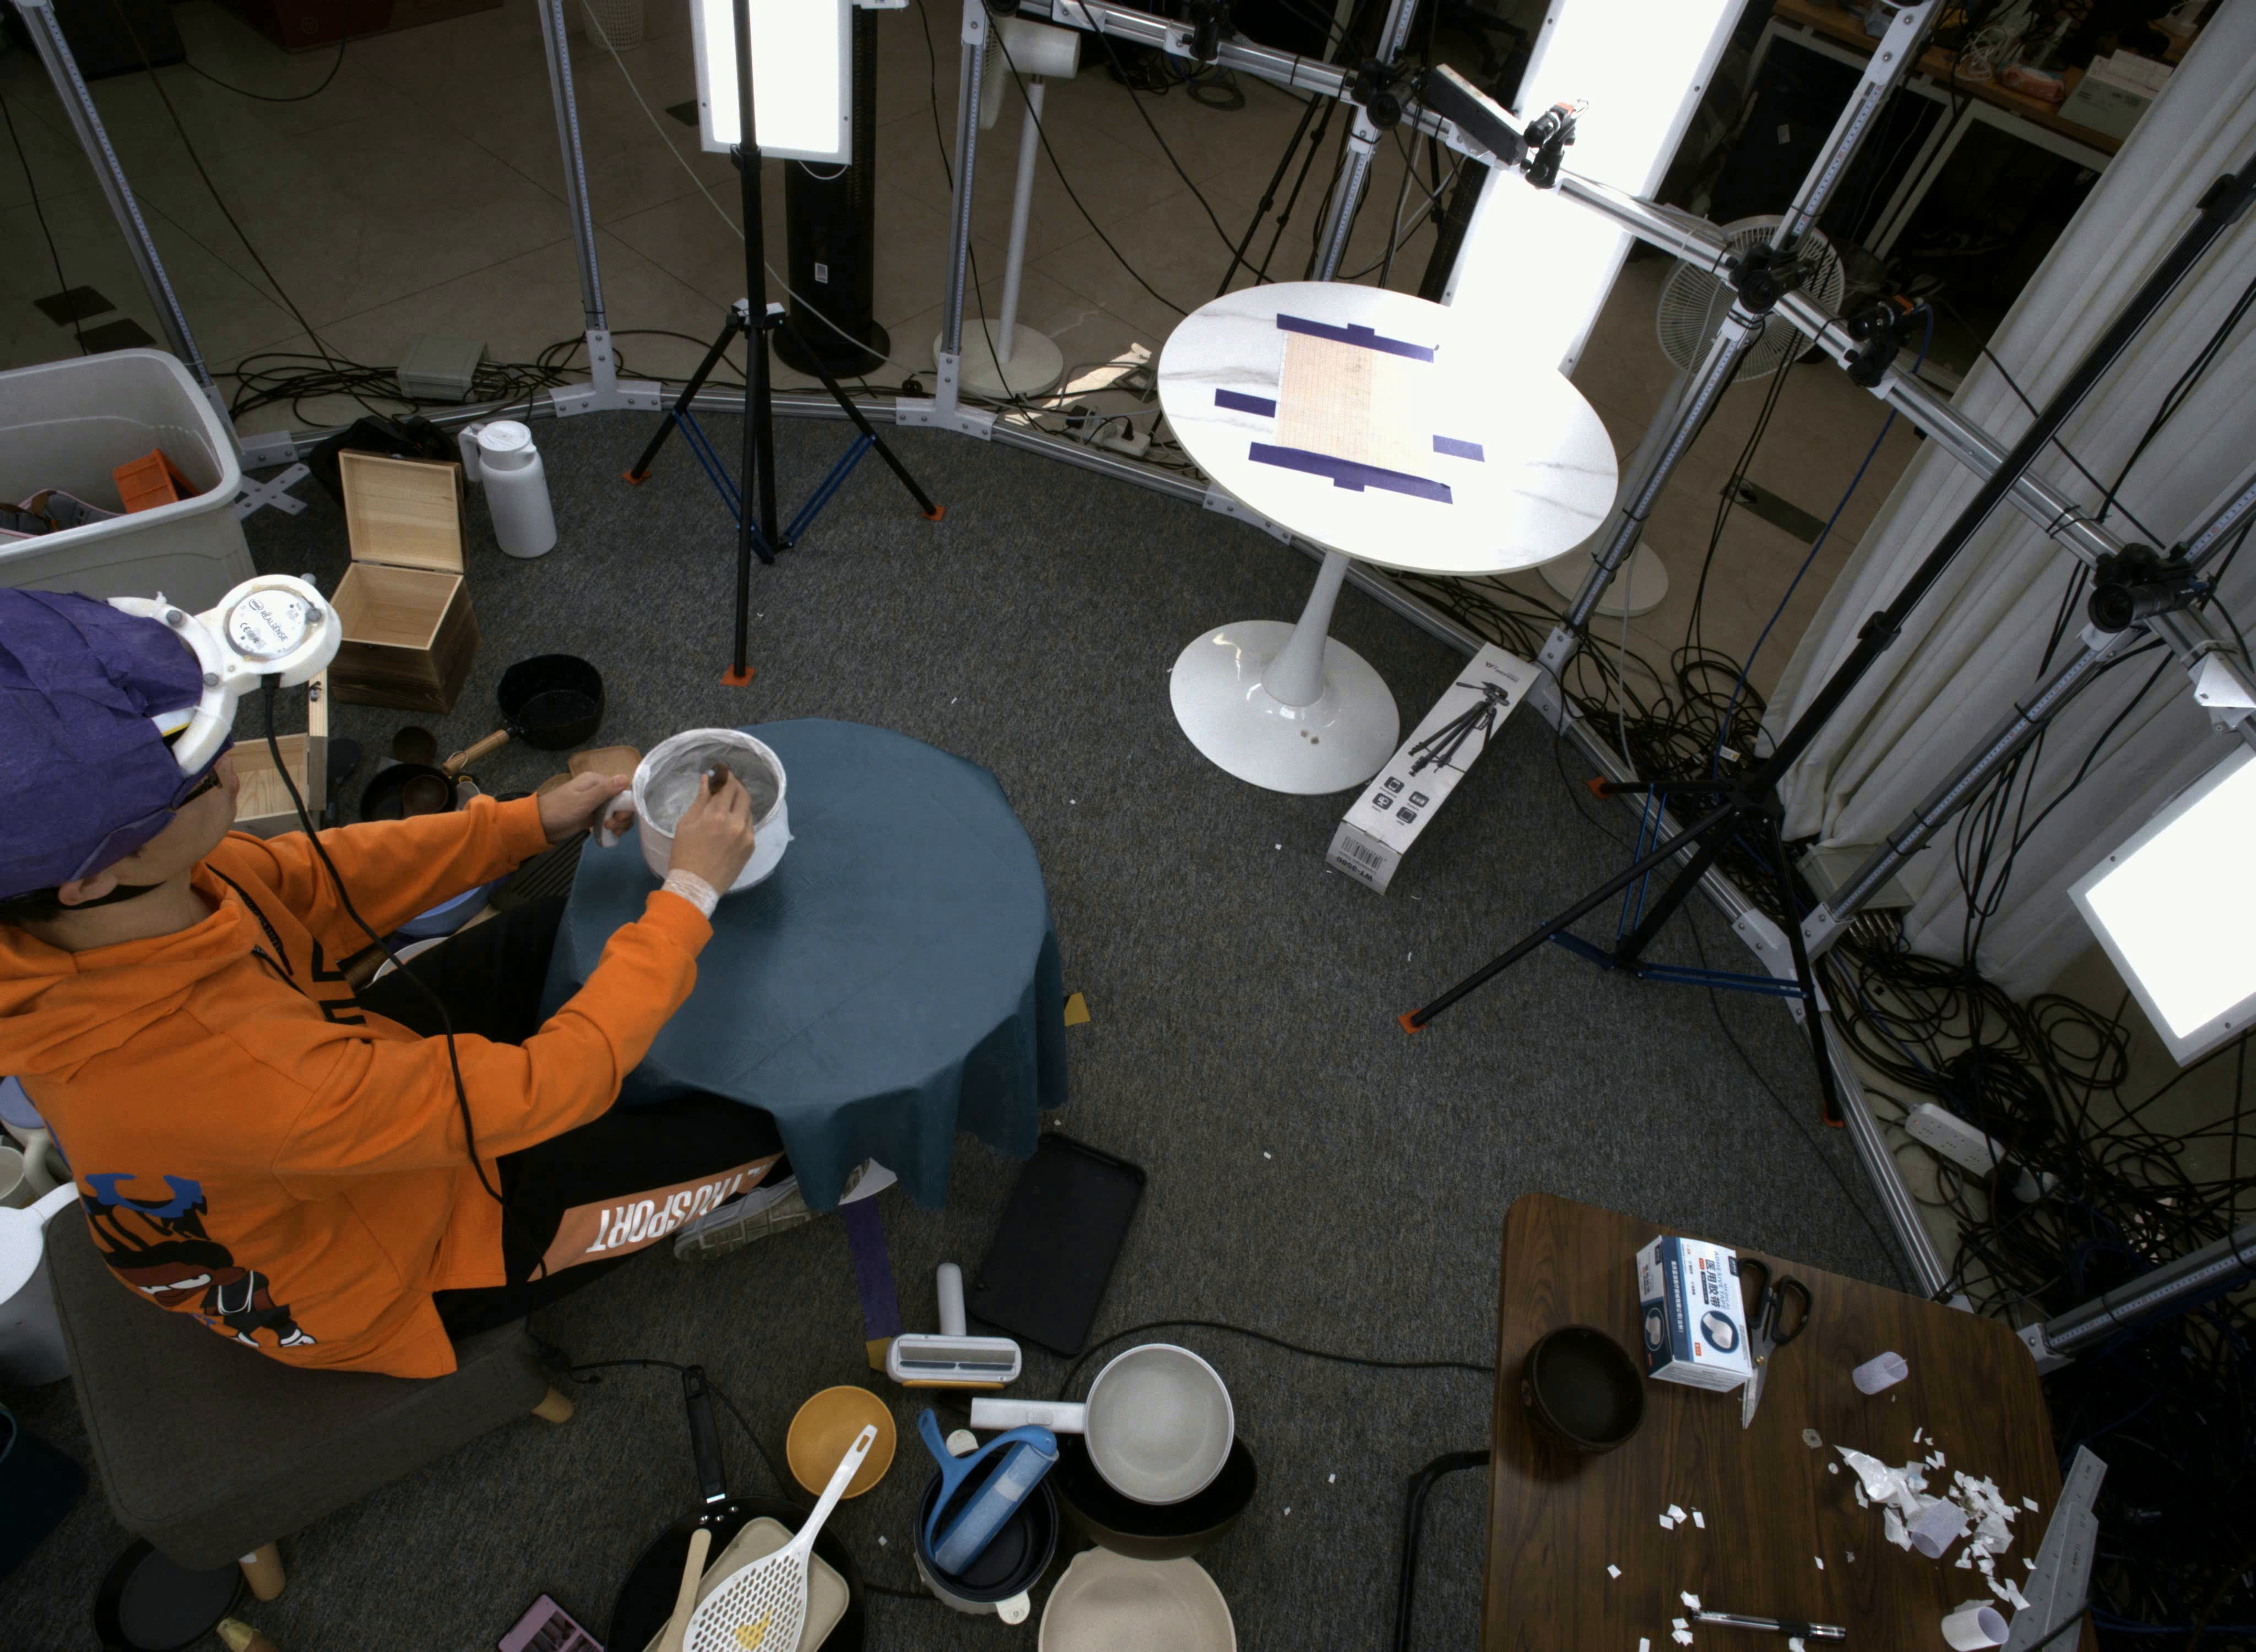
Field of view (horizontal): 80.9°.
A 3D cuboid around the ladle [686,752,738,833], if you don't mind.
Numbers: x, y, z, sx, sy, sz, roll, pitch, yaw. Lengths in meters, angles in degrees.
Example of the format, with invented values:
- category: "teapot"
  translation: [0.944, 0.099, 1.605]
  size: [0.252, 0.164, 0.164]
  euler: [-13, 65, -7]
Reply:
- category: "ladle"
  translation: [-0.476, -0.045, 1.448]
  size: [0.065, 0.258, 0.077]
  euler: [-4, 82, -13]

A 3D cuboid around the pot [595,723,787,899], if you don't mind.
- category: "pot"
  translation: [-0.528, -0.015, 1.543]
  size: [0.234, 0.139, 0.175]
  euler: [0, 52, -14]
